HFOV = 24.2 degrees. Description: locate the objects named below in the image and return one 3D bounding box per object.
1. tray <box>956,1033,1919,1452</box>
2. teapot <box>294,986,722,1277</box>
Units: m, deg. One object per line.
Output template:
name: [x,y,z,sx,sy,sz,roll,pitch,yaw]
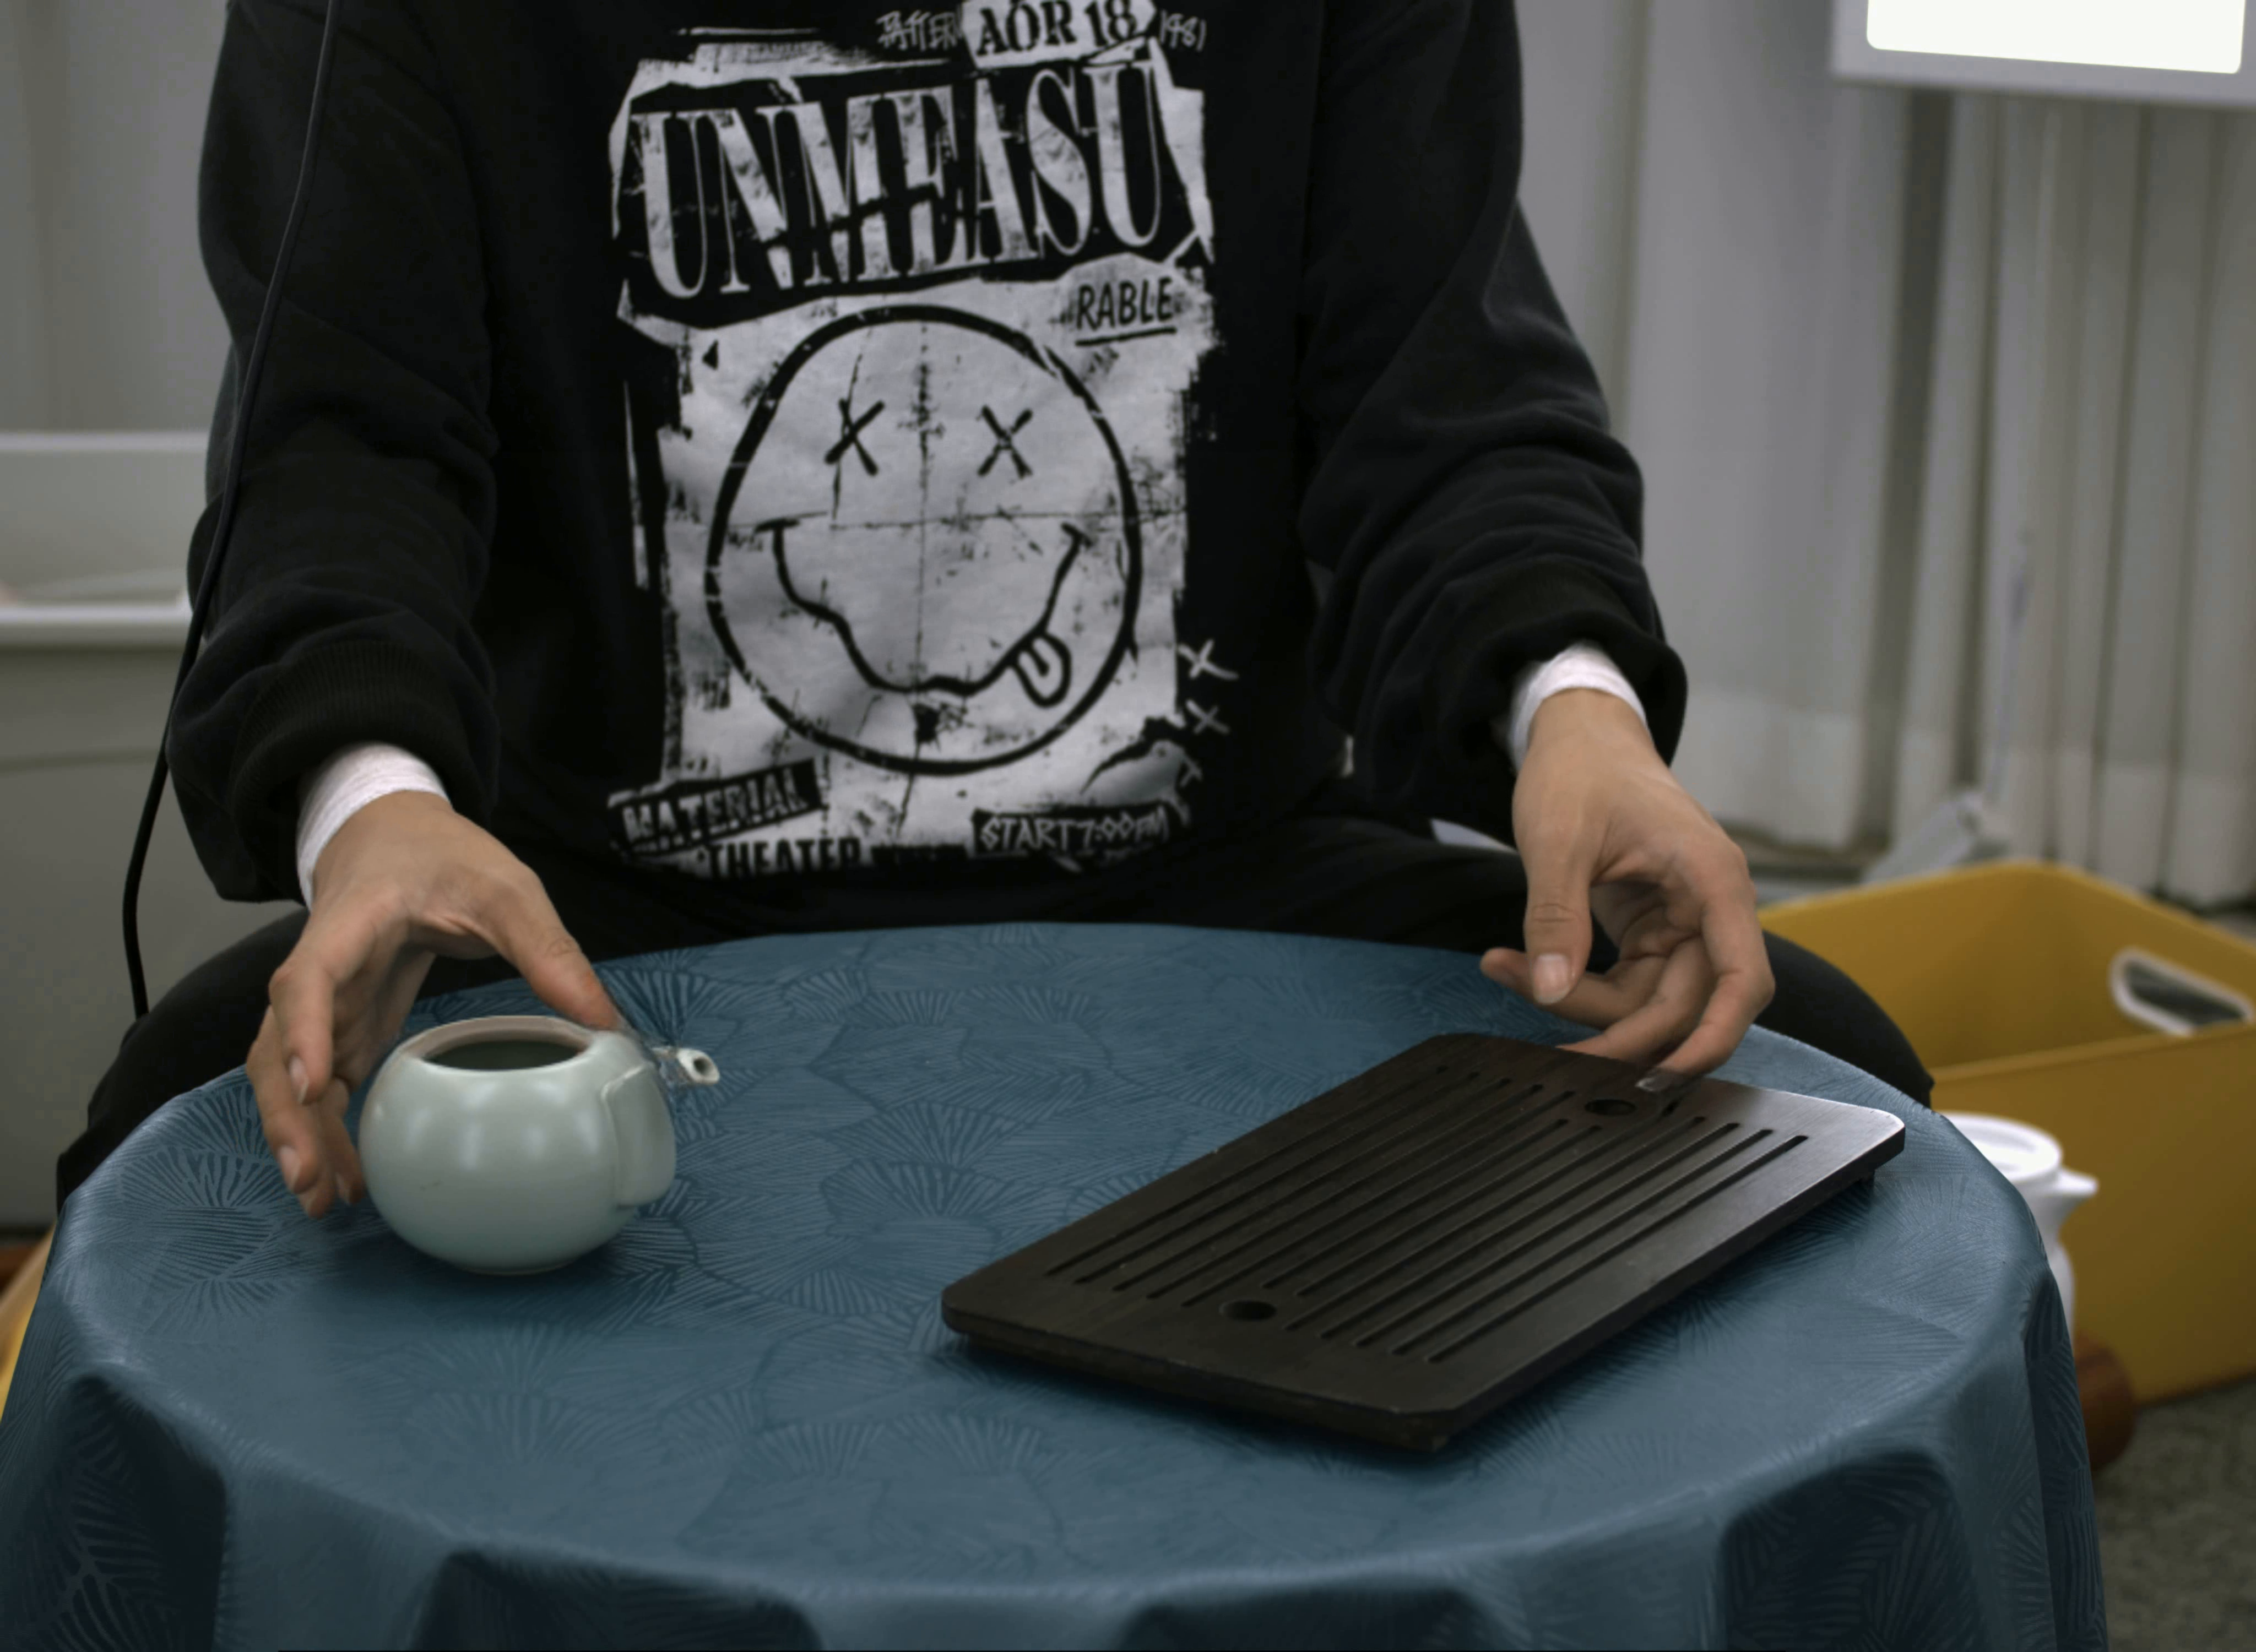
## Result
tray: [0.099,0.120,1.565,0.168,0.019,0.307,10,18,31]
teapot: [-0.183,0.092,1.555,0.142,0.075,0.088,10,18,25]
